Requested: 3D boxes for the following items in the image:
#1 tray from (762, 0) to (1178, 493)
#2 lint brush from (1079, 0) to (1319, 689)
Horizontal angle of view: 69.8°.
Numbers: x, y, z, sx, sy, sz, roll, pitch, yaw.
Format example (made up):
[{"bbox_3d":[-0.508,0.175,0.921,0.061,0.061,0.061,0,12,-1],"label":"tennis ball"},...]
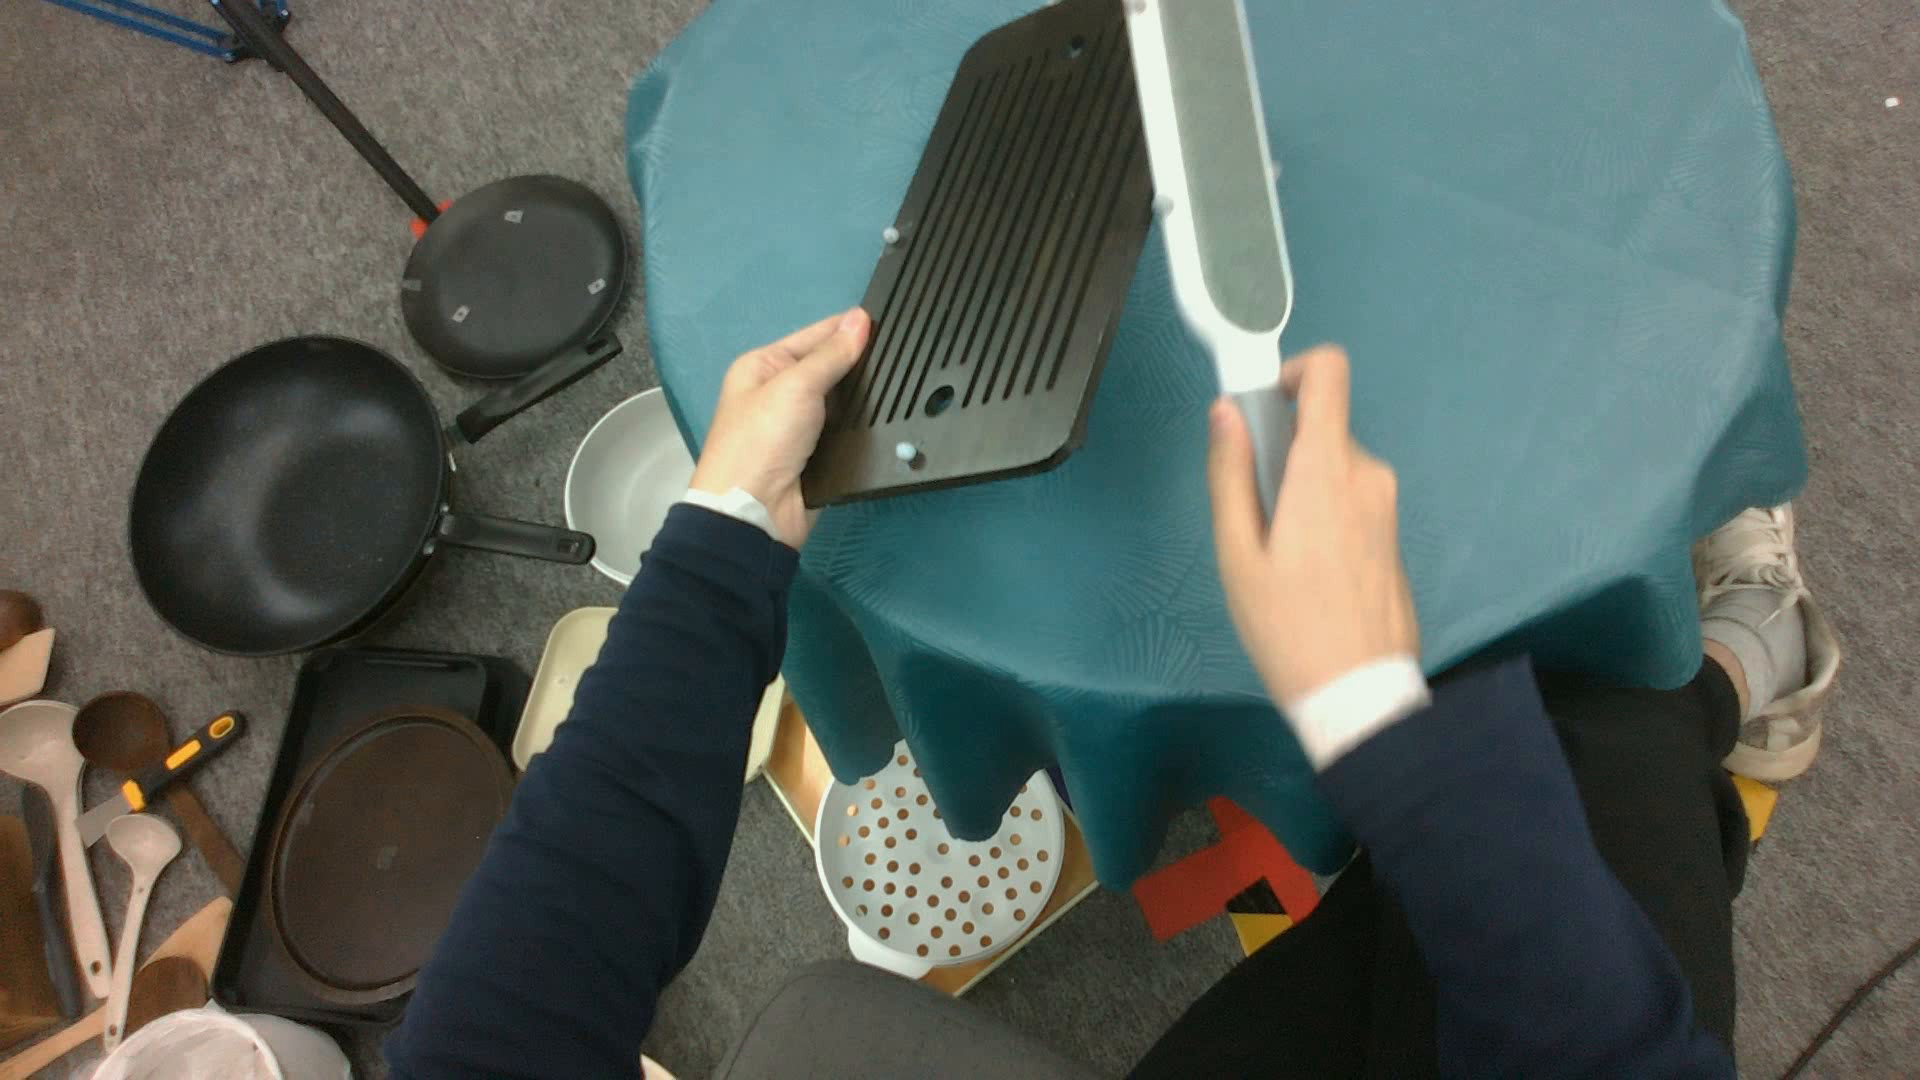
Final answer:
[{"bbox_3d":[0.014,-0.159,0.642,0.169,0.018,0.307,-7,55,42],"label":"tray"},{"bbox_3d":[0.100,-0.091,0.563,0.060,0.021,0.309,-7,82,-41],"label":"lint brush"}]
